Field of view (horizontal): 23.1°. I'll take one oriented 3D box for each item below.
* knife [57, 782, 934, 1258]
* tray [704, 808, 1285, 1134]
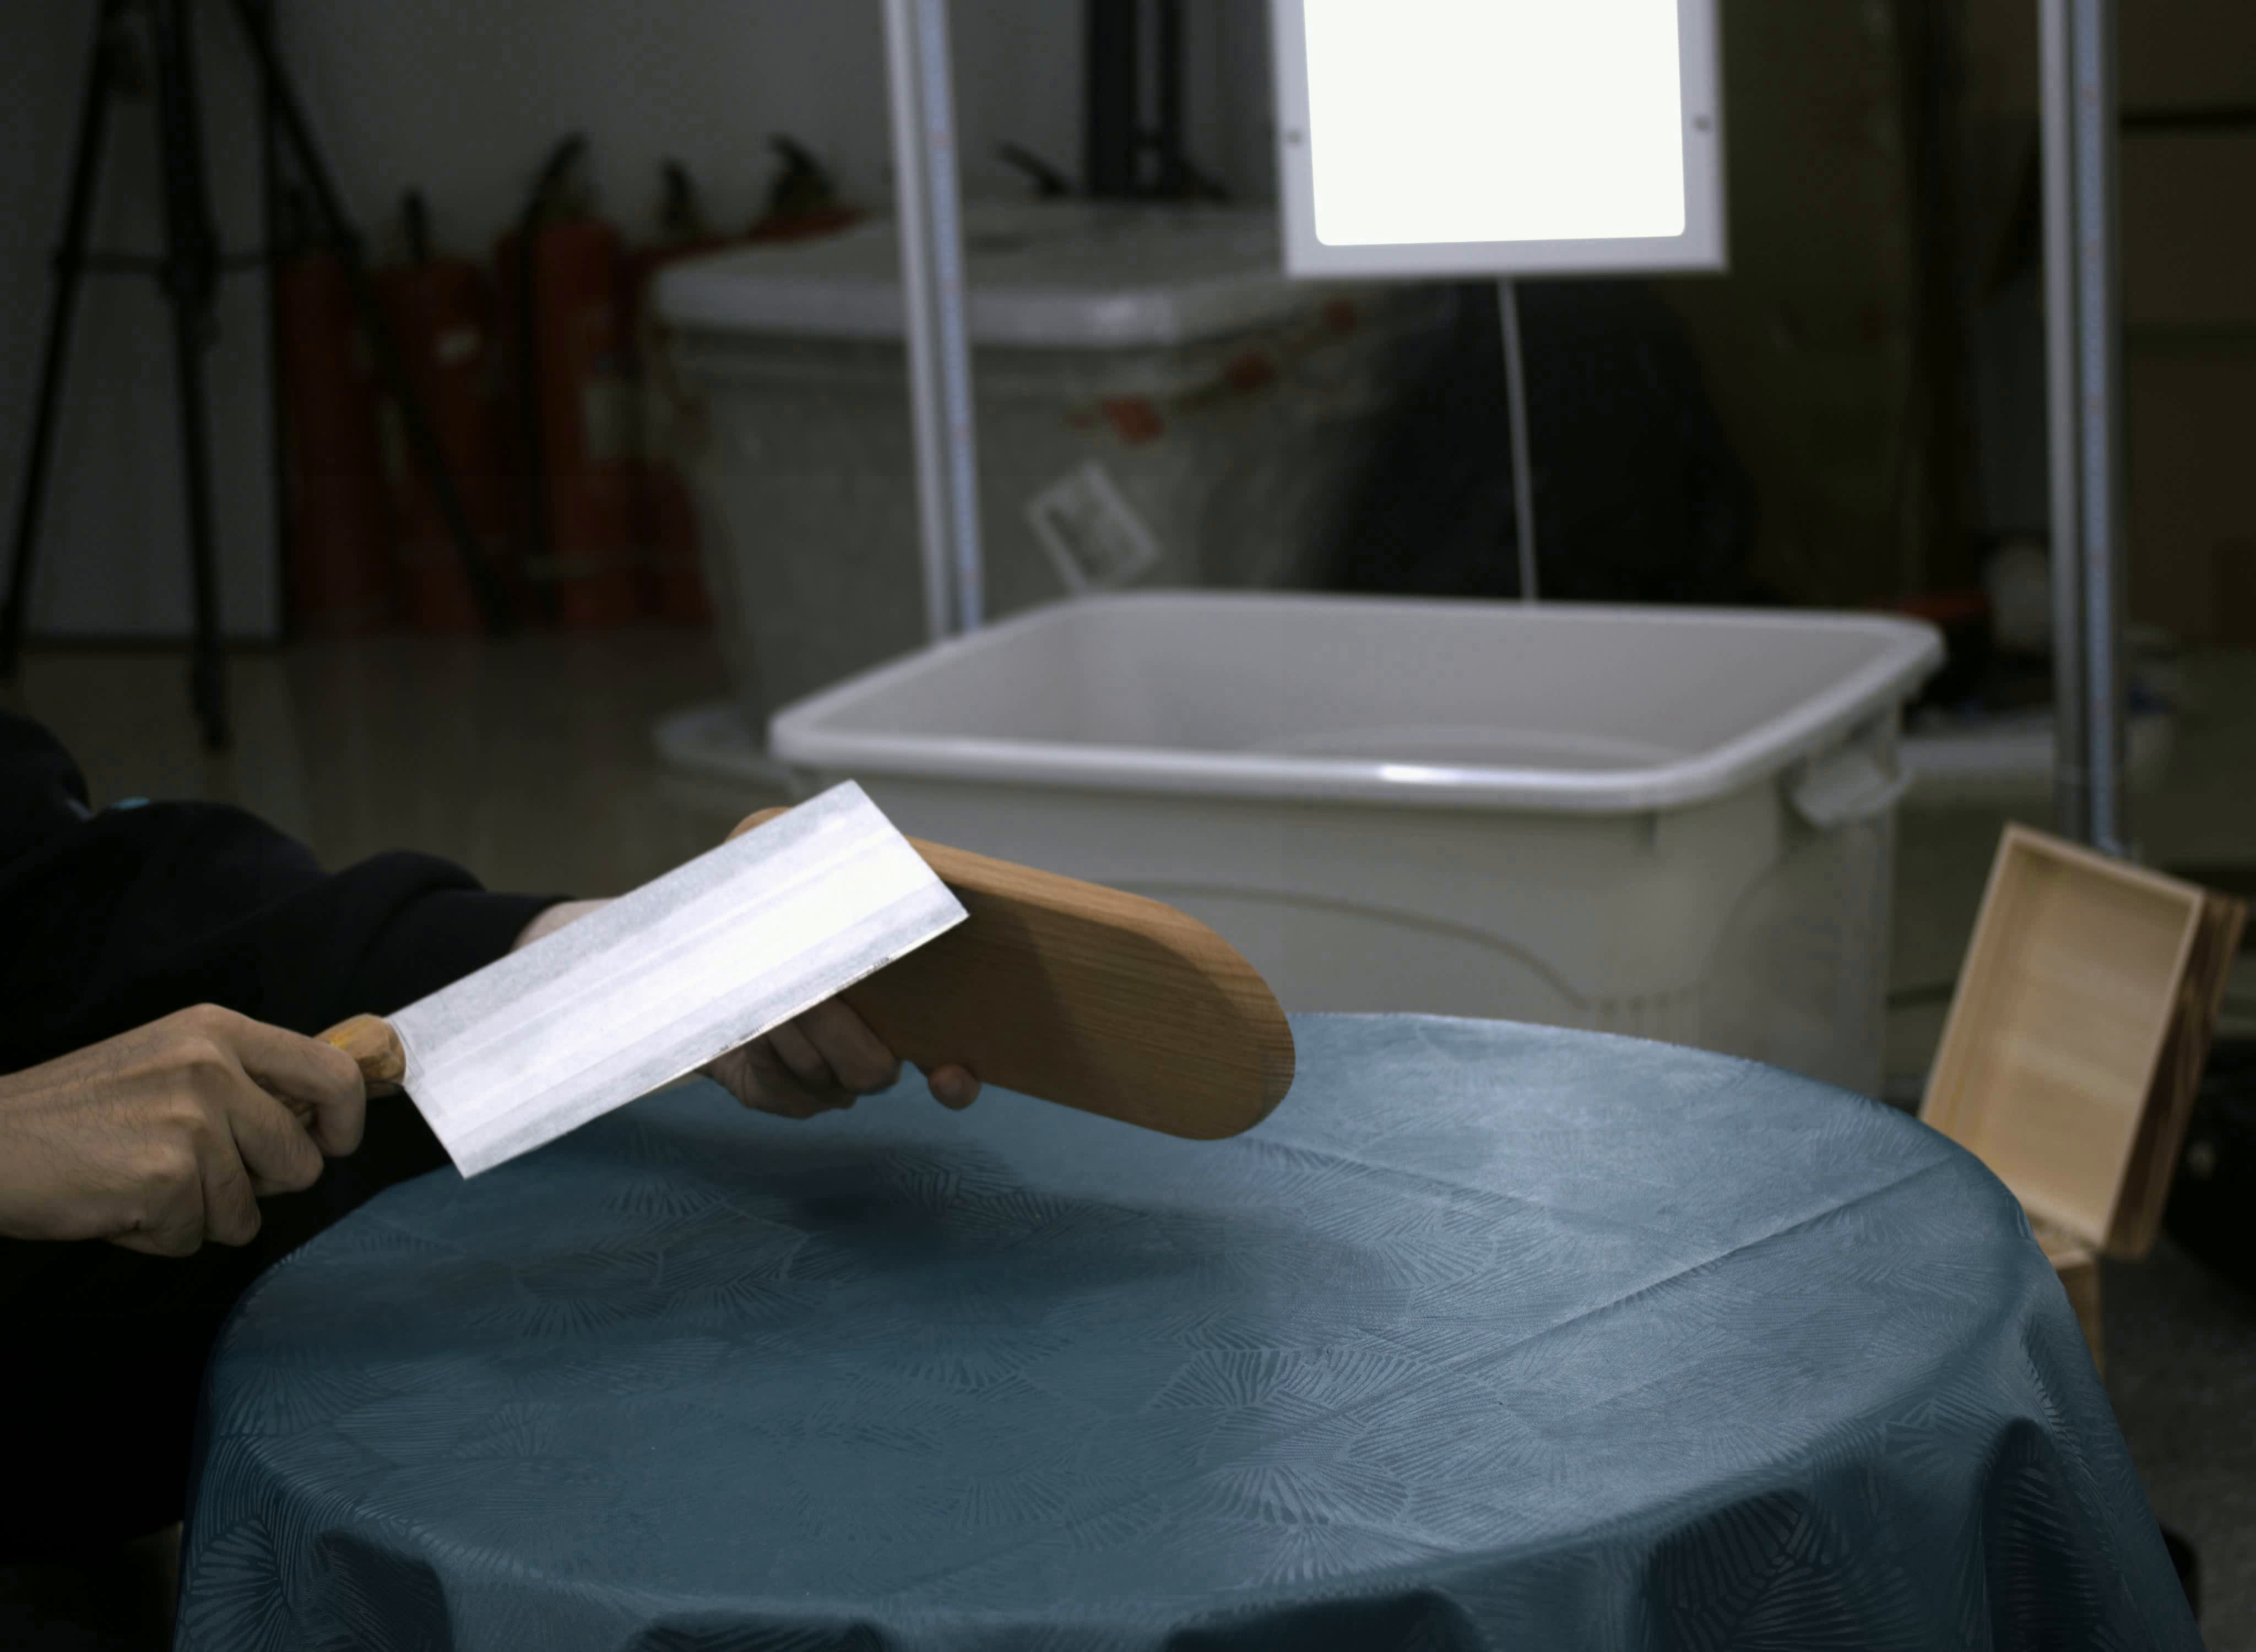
[{"bbox_3d":[-0.204,0.074,1.827,0.302,0.021,0.094,-28,43,-12],"label":"knife"},{"bbox_3d":[-0.049,0.050,1.877,0.235,0.102,0.020,12,43,31],"label":"tray"}]
